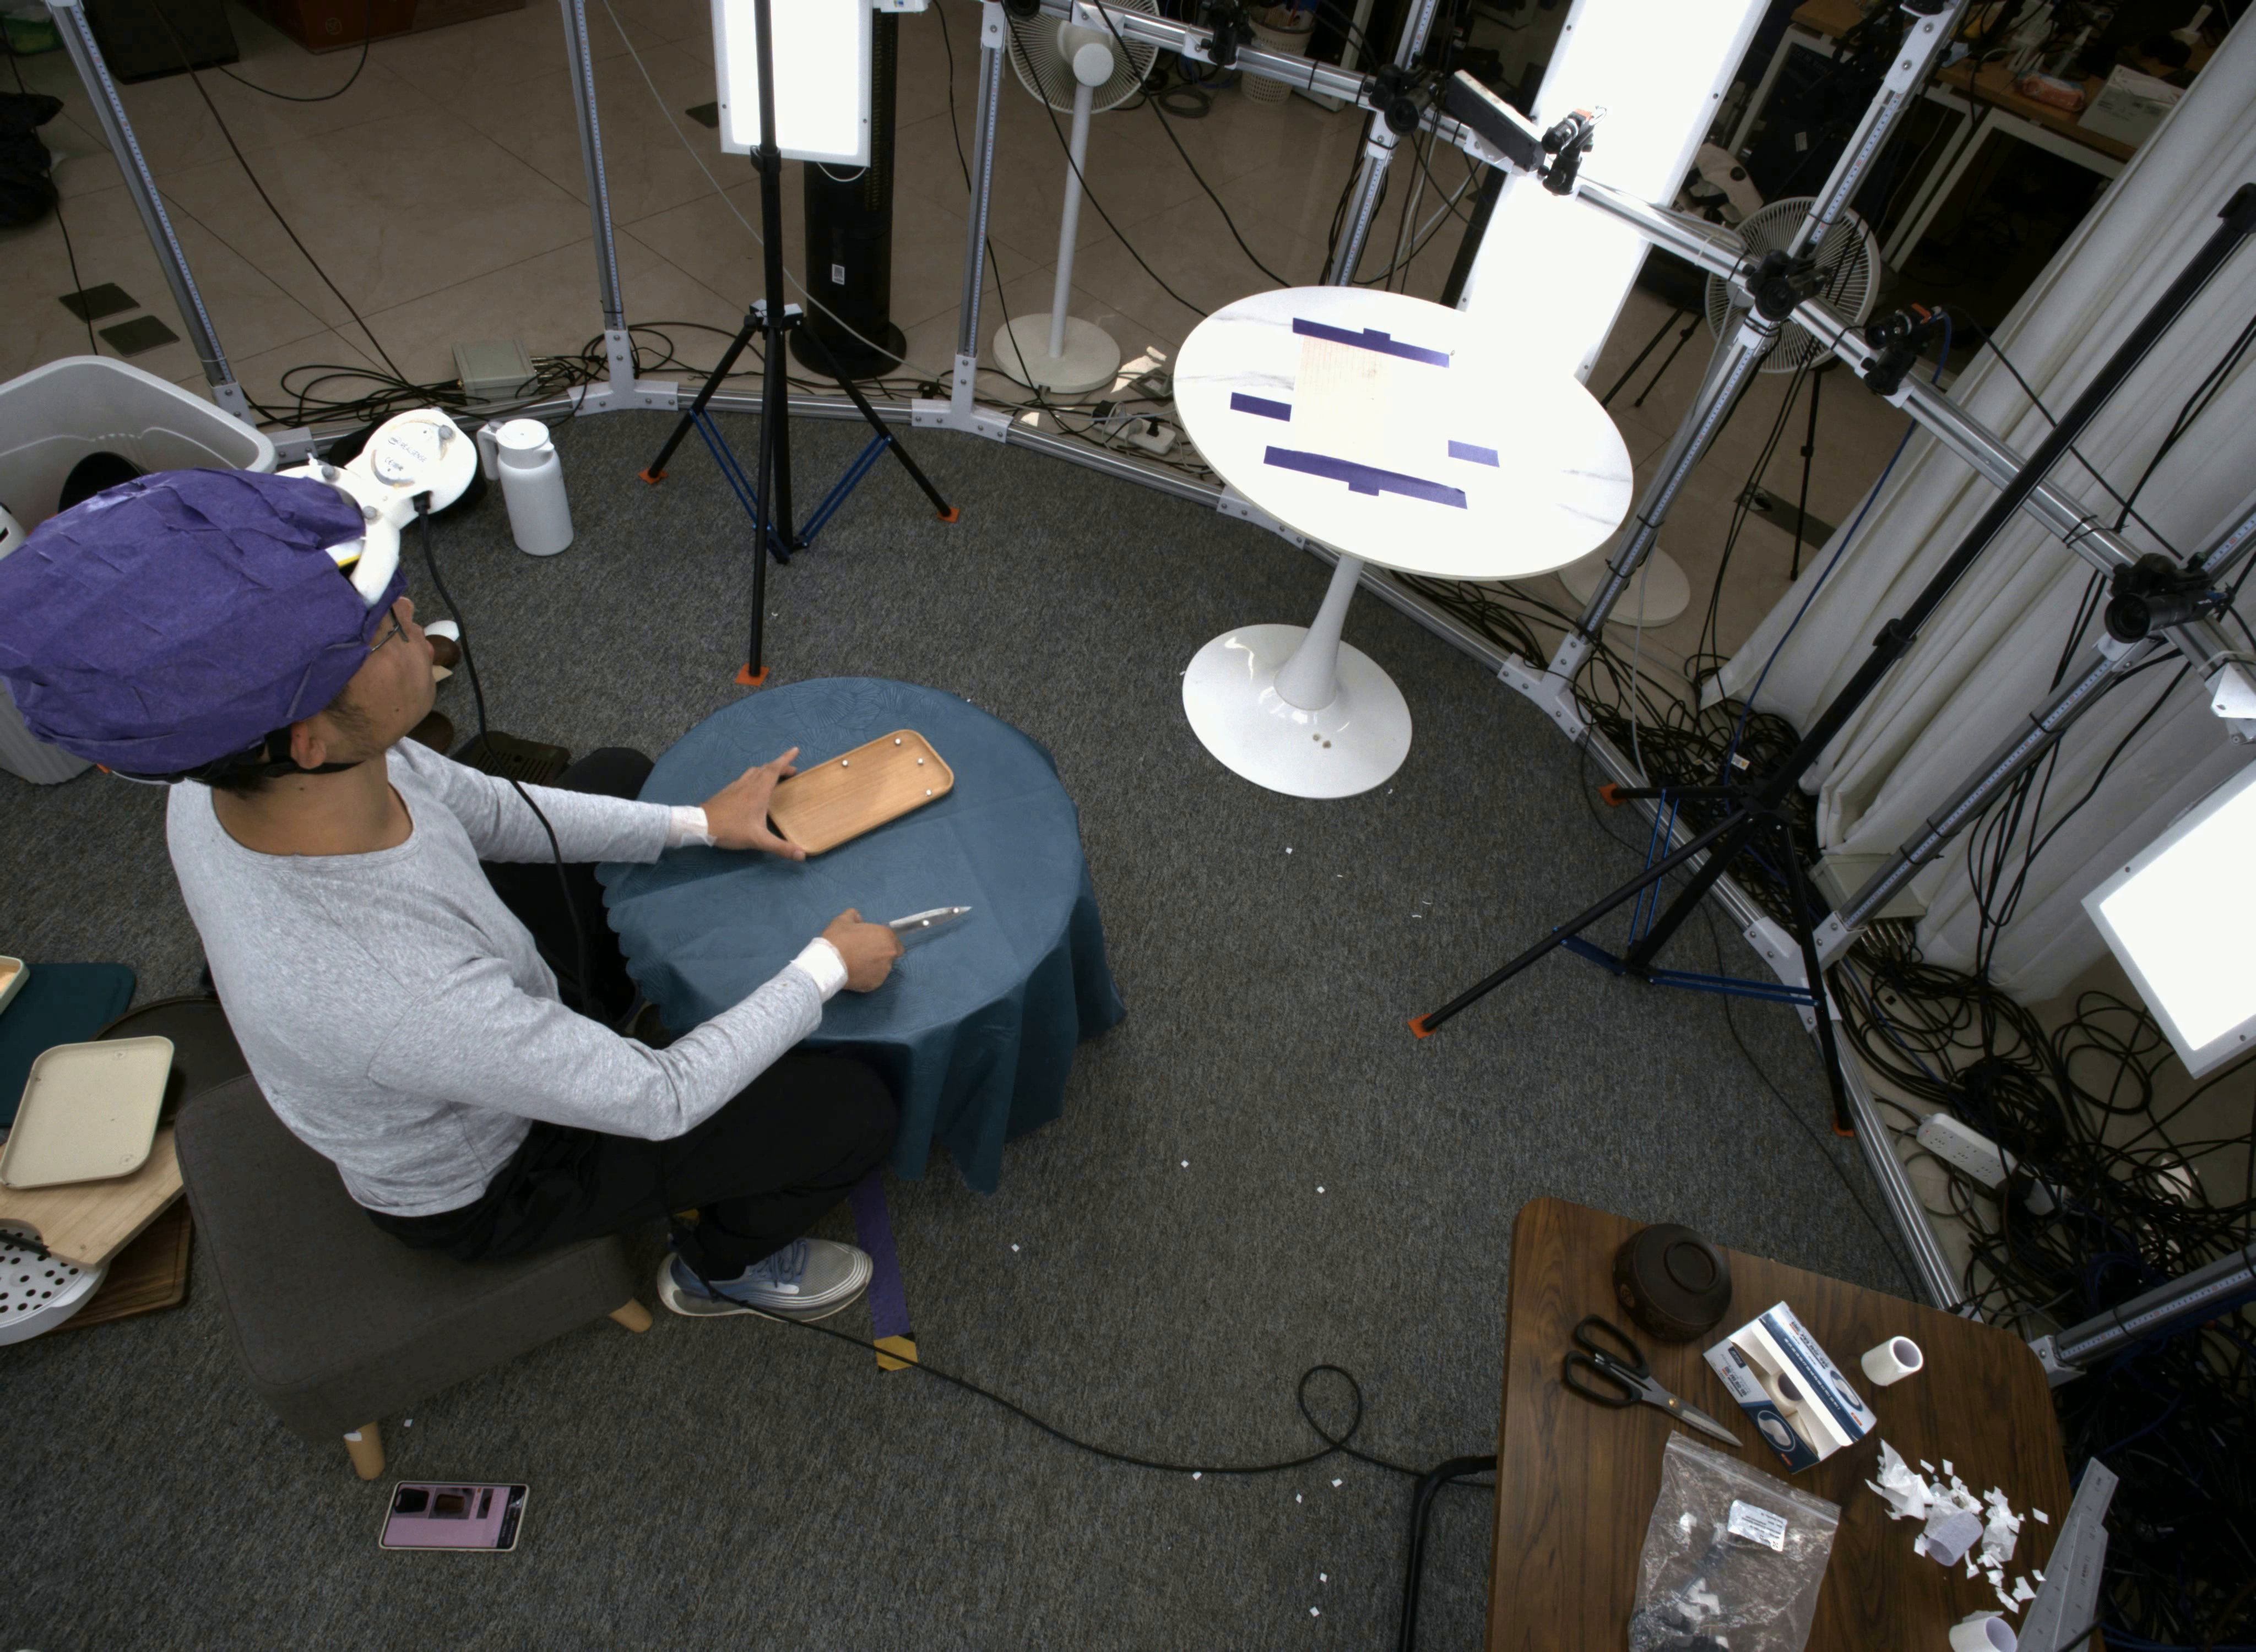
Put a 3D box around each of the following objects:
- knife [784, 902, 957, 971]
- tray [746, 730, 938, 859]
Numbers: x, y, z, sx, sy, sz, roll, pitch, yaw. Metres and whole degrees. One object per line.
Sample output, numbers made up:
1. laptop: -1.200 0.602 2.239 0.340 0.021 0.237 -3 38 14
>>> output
1. knife: -0.317 0.134 1.629 0.240 0.016 0.025 -19 98 -32
2. tray: -0.387 -0.045 1.768 0.251 0.023 0.127 -29 63 -29
